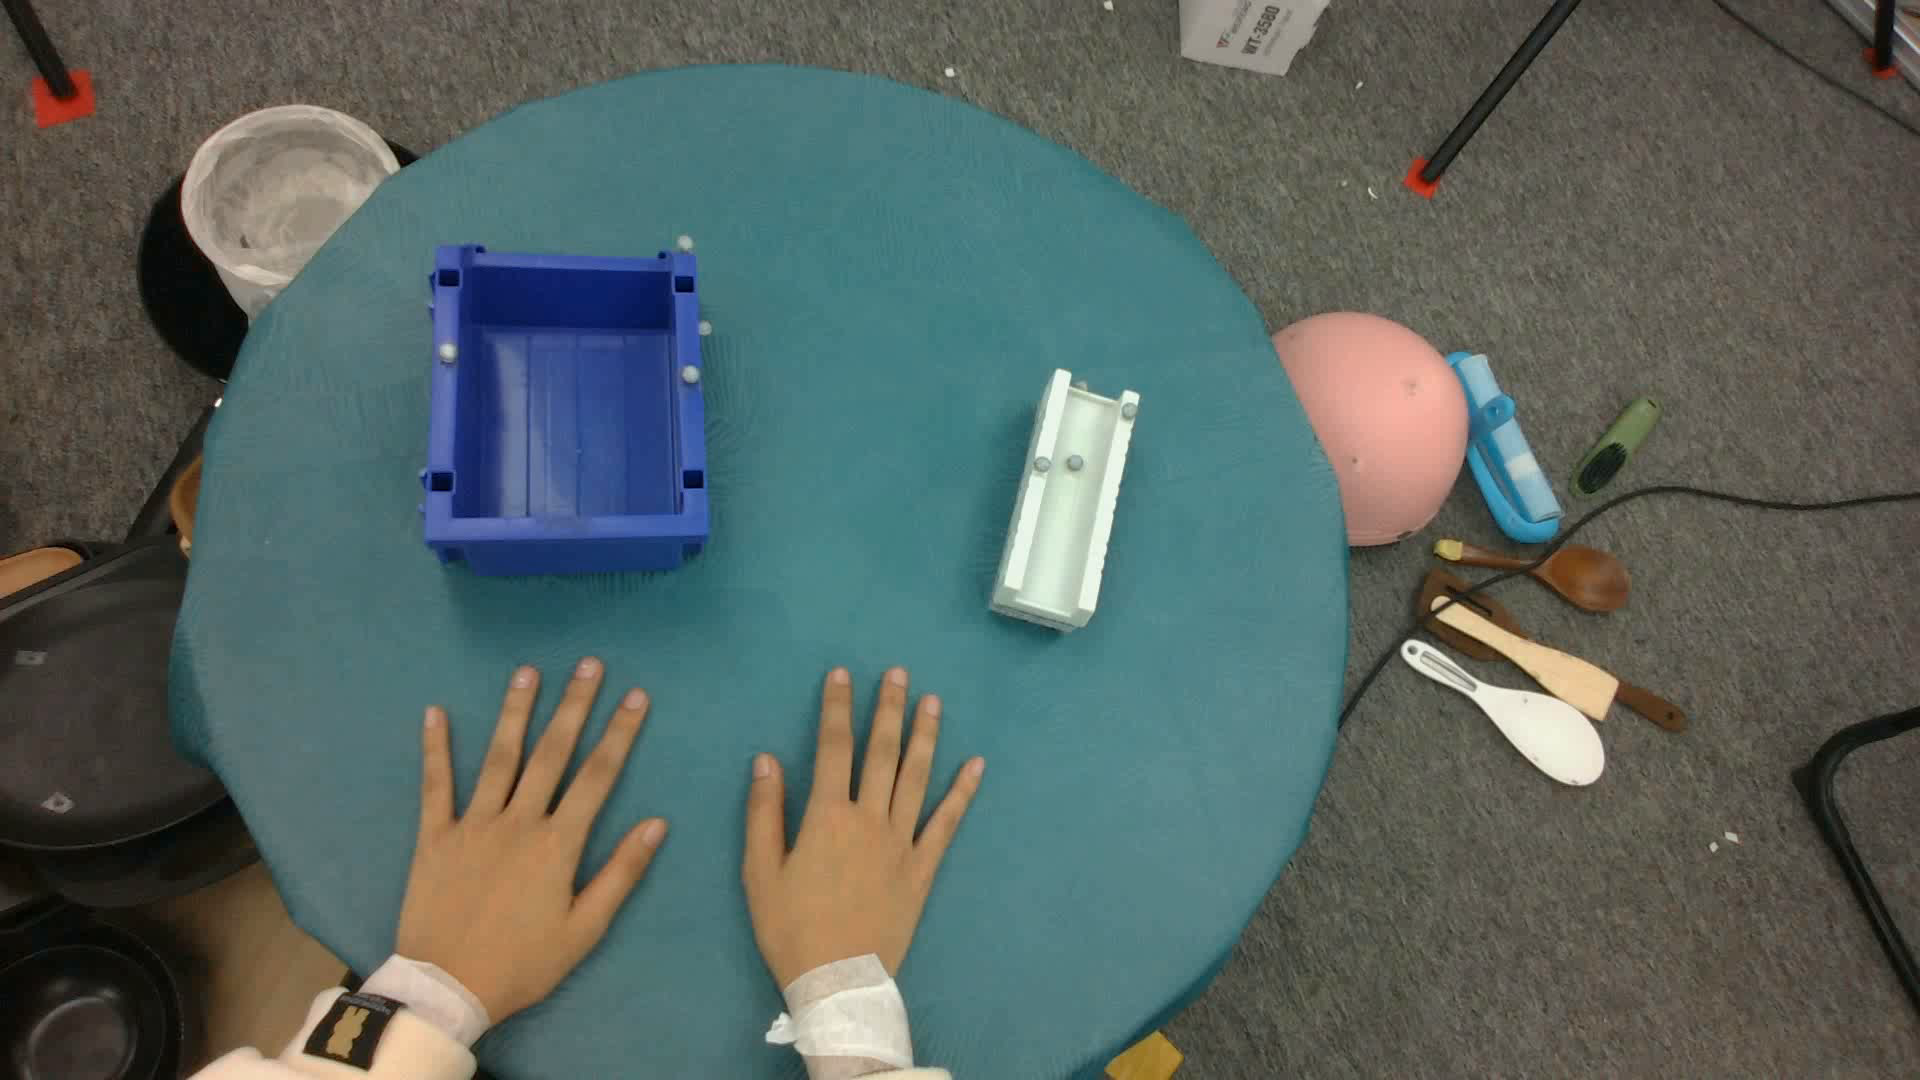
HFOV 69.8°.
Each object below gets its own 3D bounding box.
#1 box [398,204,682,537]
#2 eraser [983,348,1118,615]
[{"bbox_3d":[-0.202,-0.088,0.677,0.124,0.081,0.180,0,70,-14],"label":"box"},{"bbox_3d":[0.047,-0.031,0.732,0.050,0.046,0.135,15,64,-9],"label":"eraser"}]
